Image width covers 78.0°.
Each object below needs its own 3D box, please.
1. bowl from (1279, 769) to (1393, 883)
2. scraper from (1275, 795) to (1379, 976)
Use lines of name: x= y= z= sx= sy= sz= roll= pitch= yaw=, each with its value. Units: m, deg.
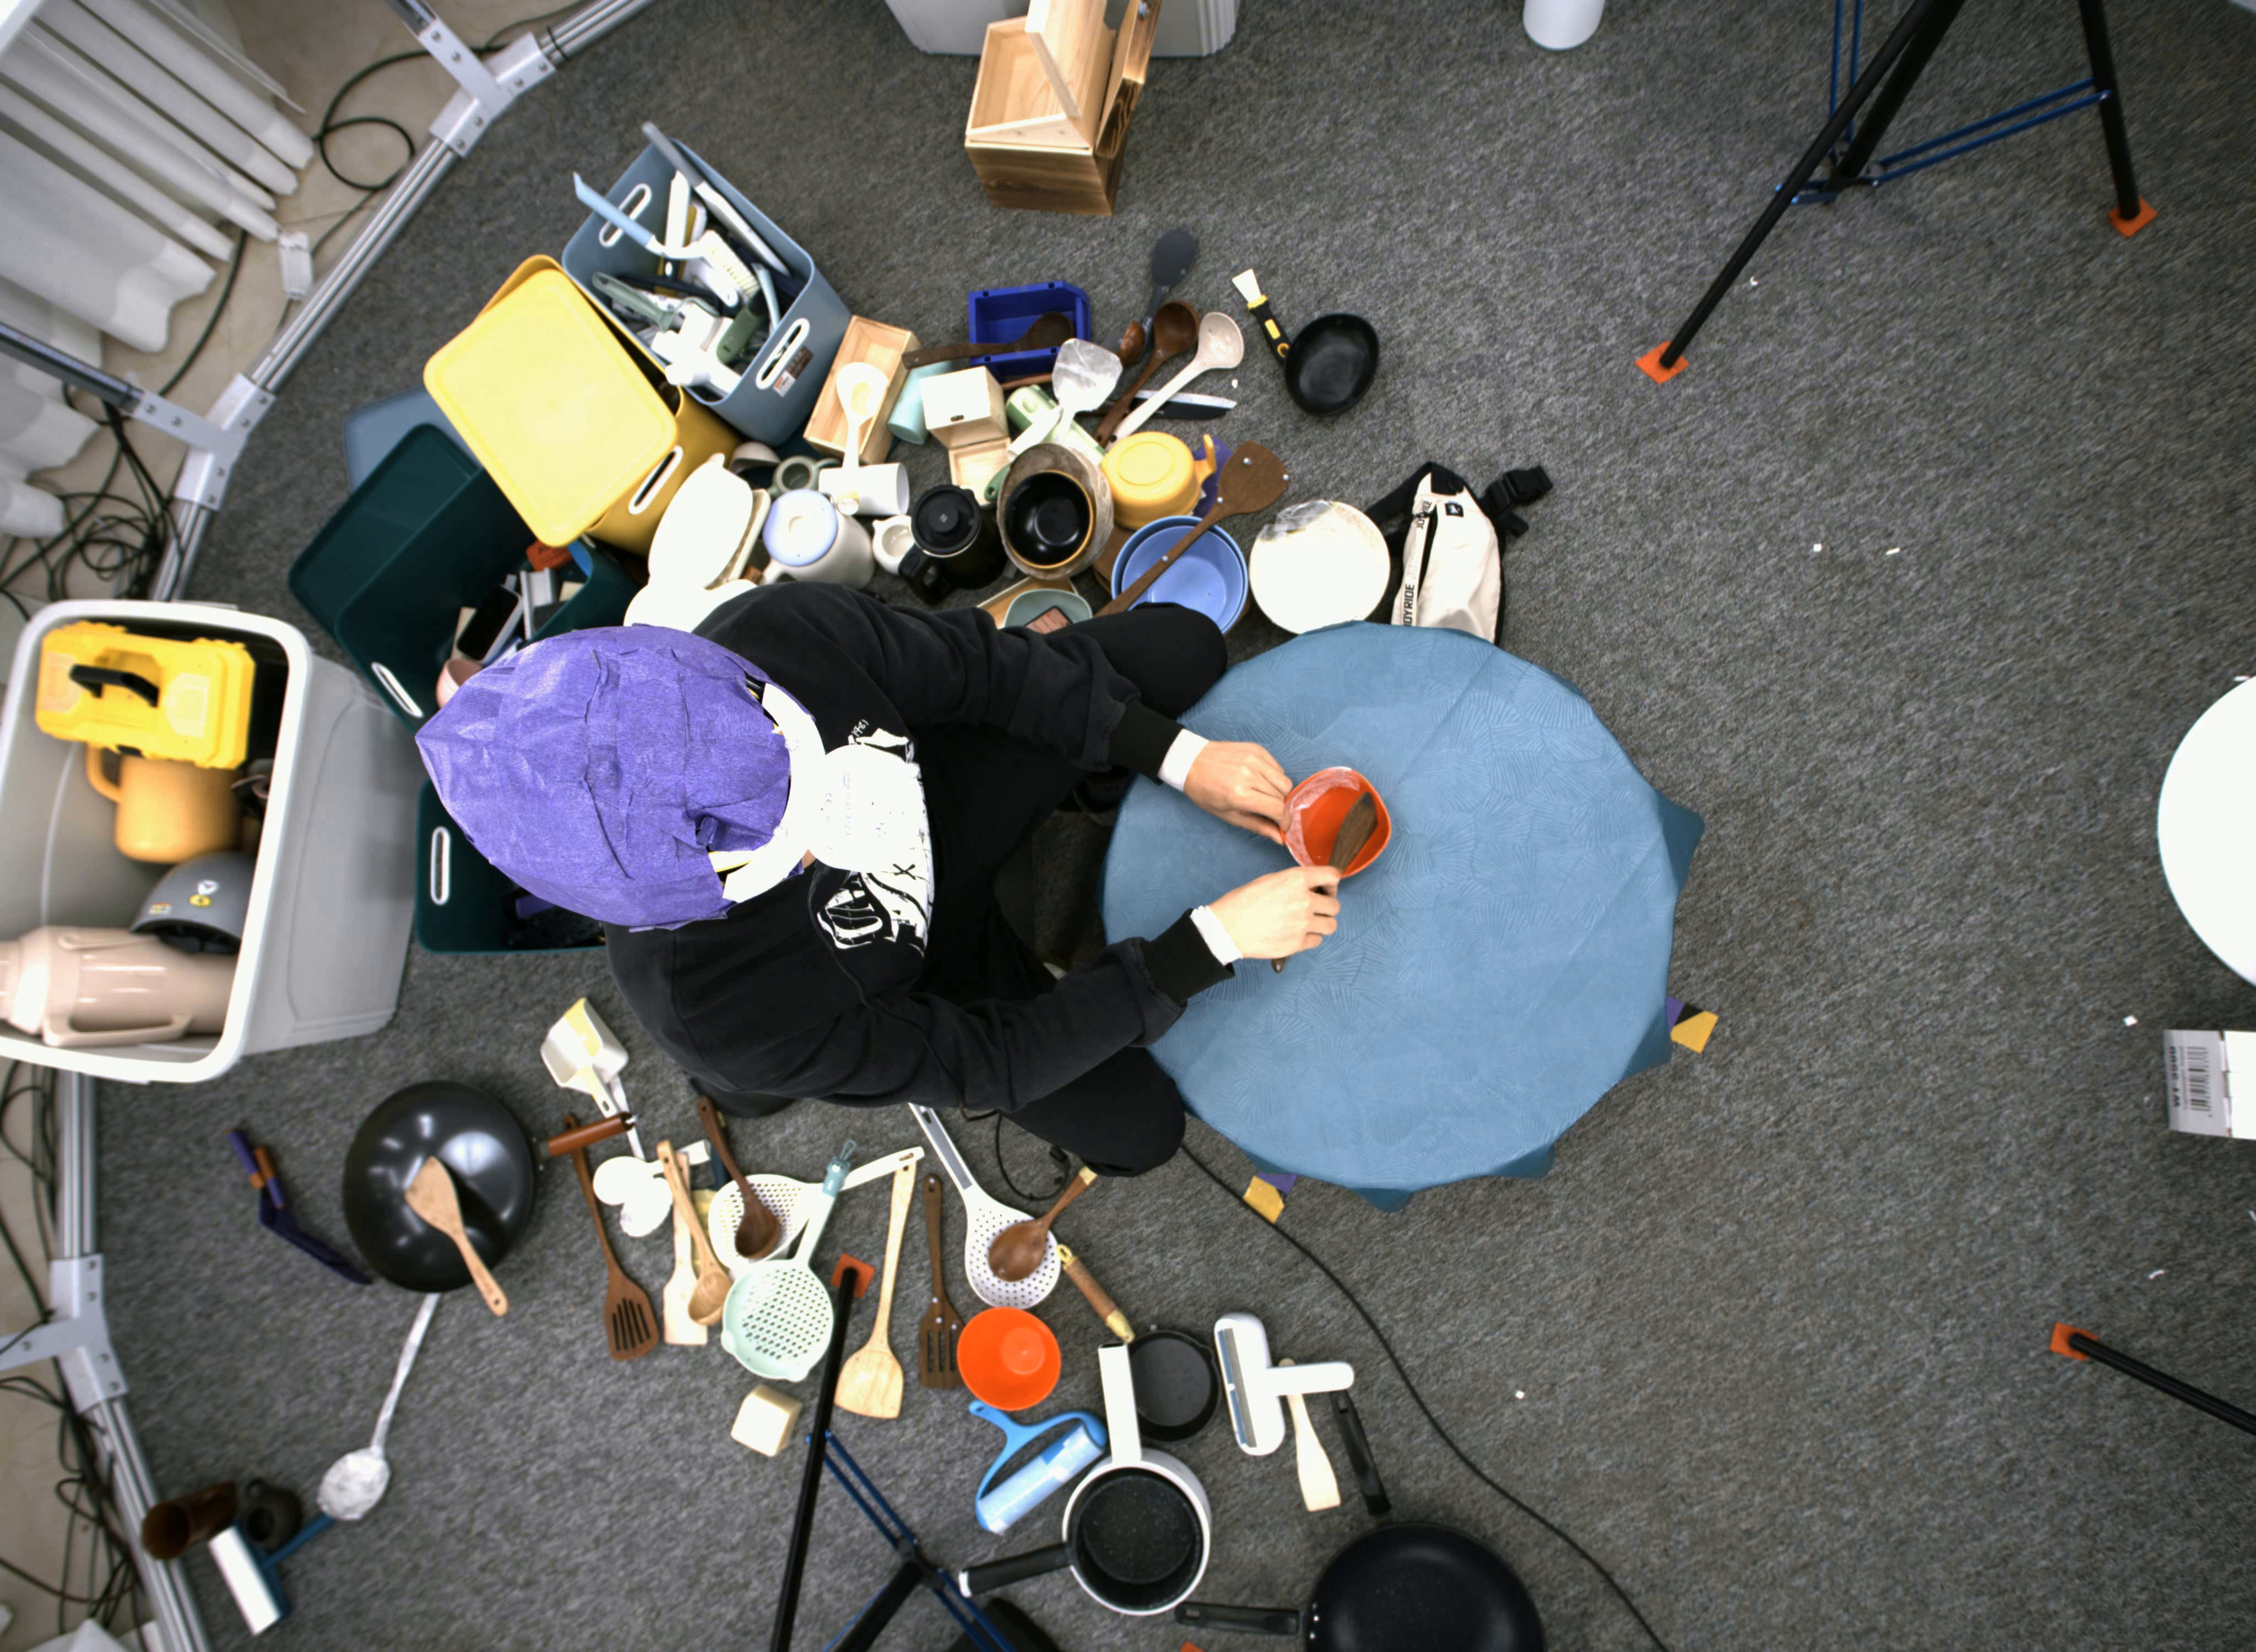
bowl: x=0.213 y=-0.001 z=1.447 sx=0.119 sy=0.051 sz=0.119 roll=0 pitch=94 yaw=-4
scraper: x=0.200 y=0.061 z=1.389 sx=0.011 sy=0.077 sz=0.207 roll=22 pitch=66 yaw=29
